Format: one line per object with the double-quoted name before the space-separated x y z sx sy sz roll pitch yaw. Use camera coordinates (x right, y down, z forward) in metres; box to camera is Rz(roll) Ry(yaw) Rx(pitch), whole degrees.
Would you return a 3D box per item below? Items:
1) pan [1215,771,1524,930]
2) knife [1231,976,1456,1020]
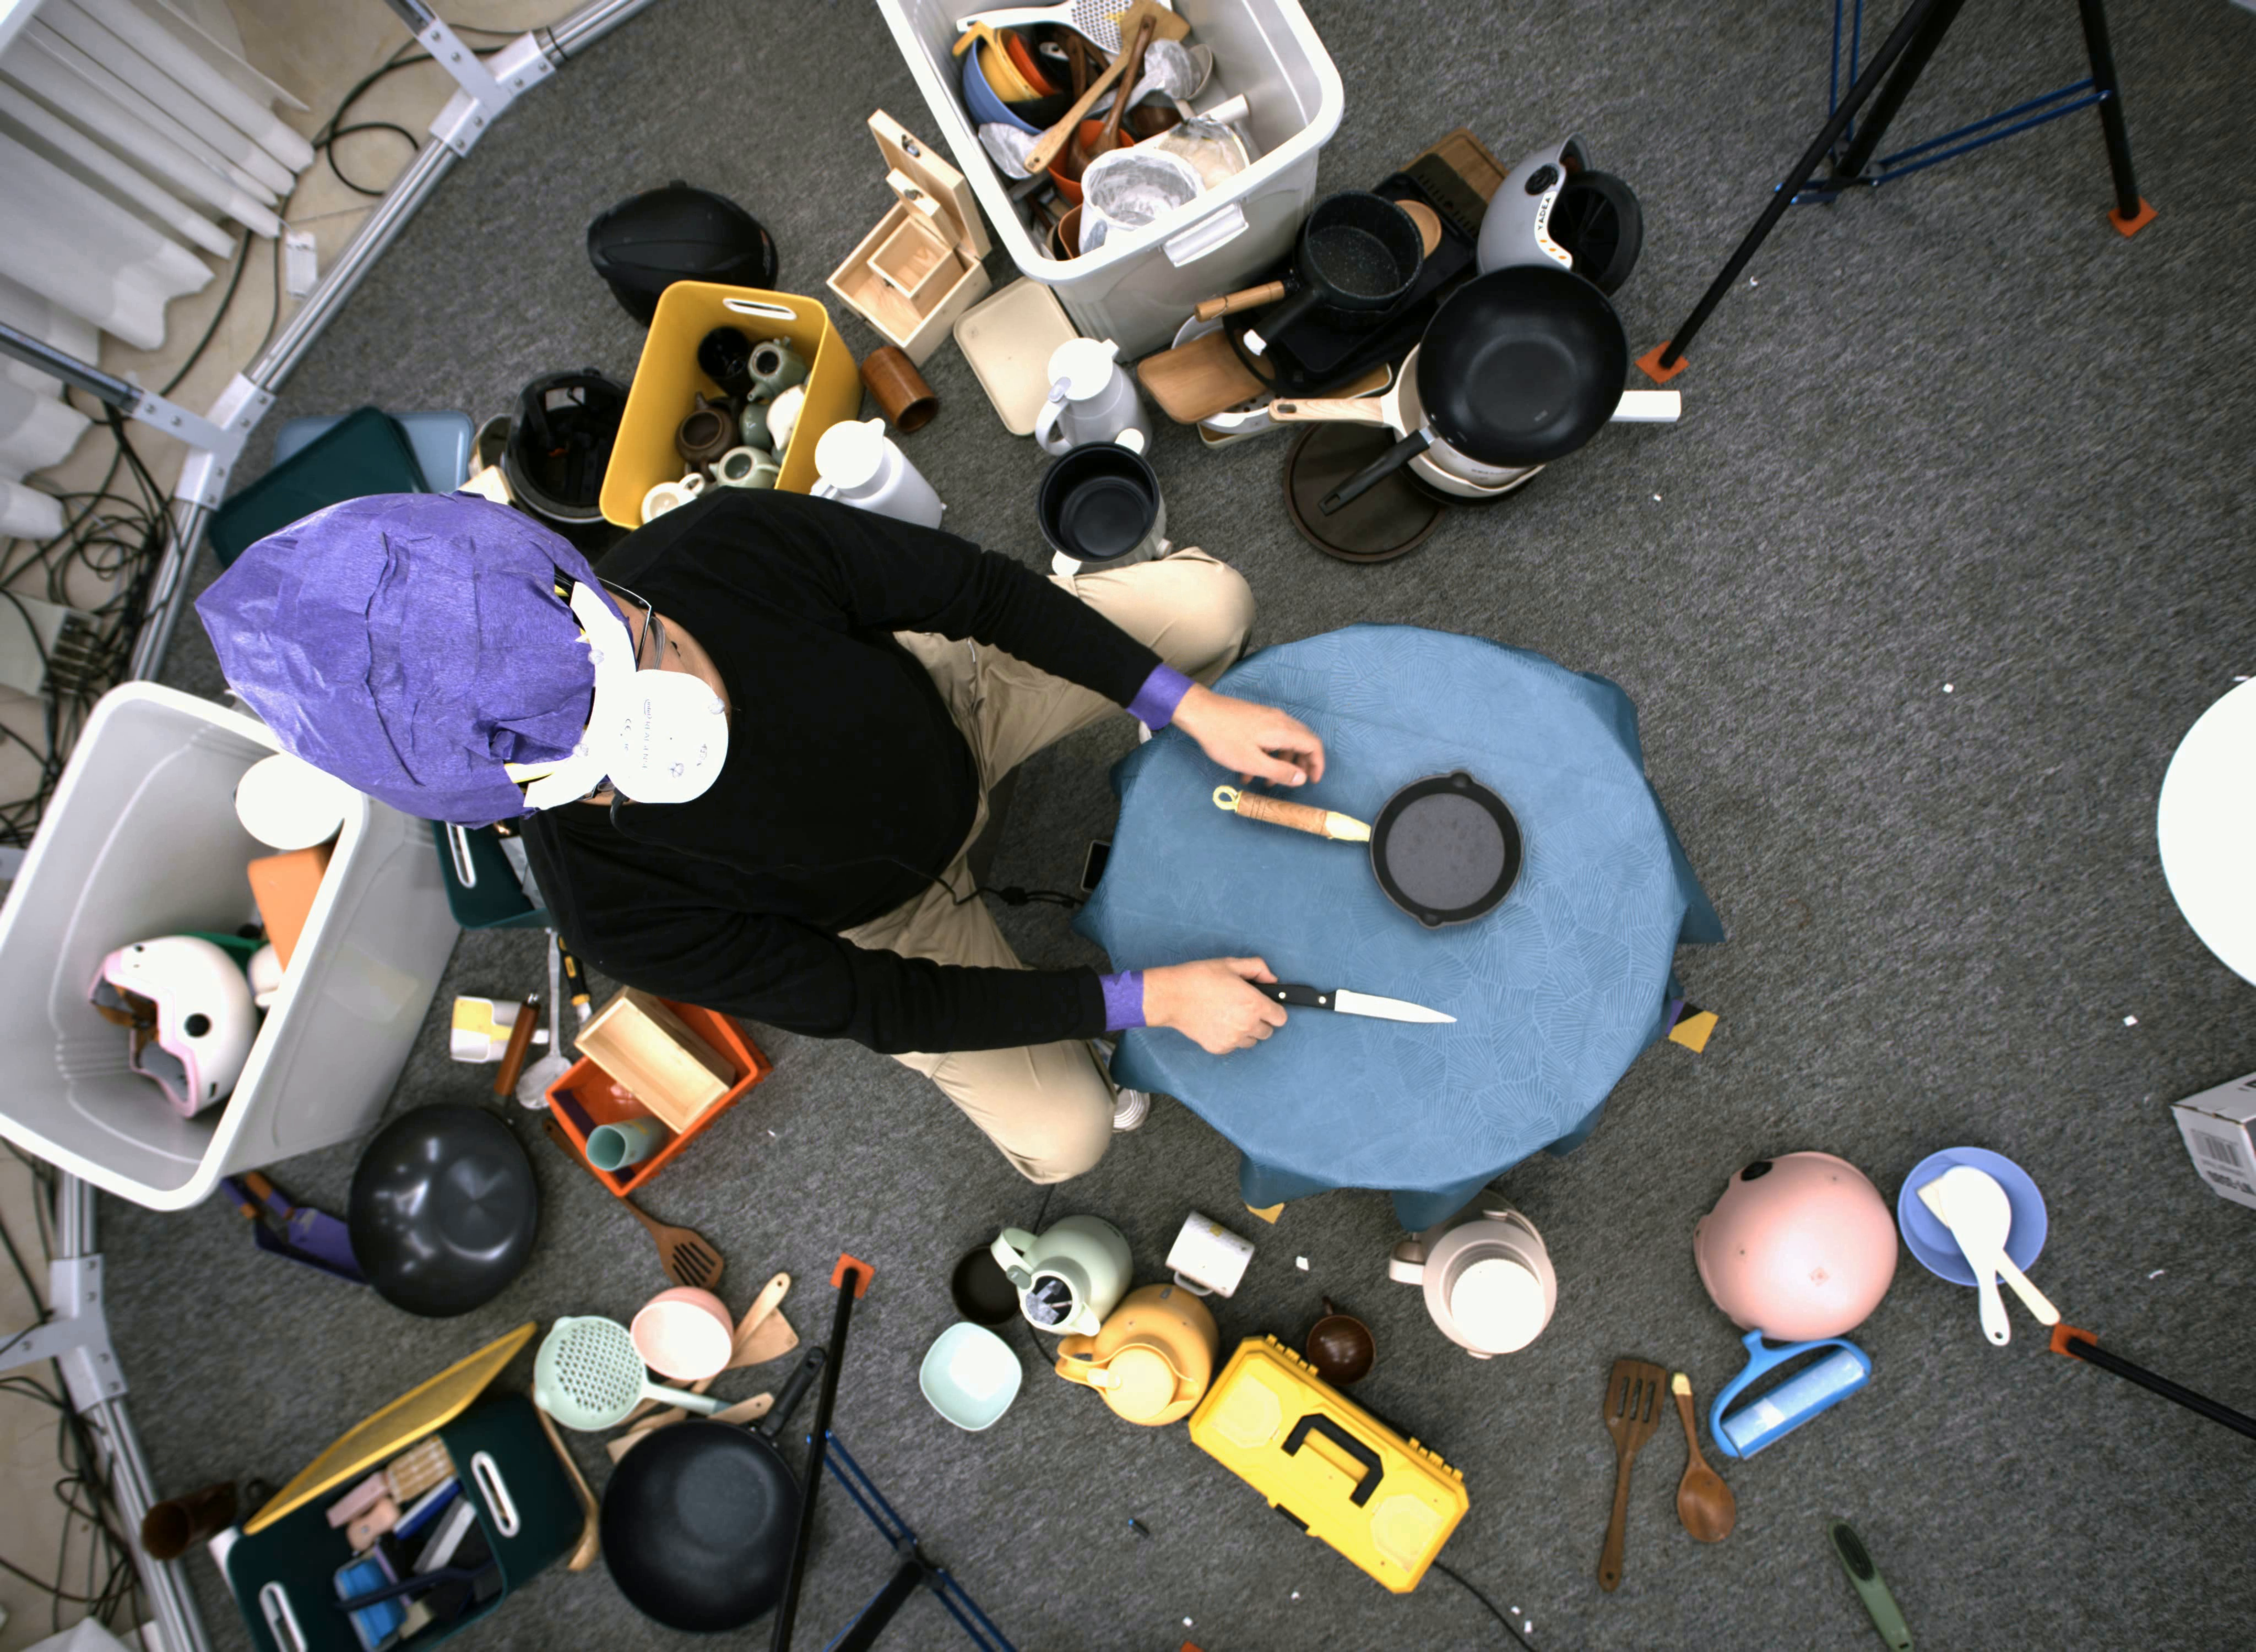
"pan" 0.250 0.003 1.445 0.324 0.049 0.168 15 90 12
"knife" 0.225 0.184 1.458 0.239 0.016 0.024 8 78 8
